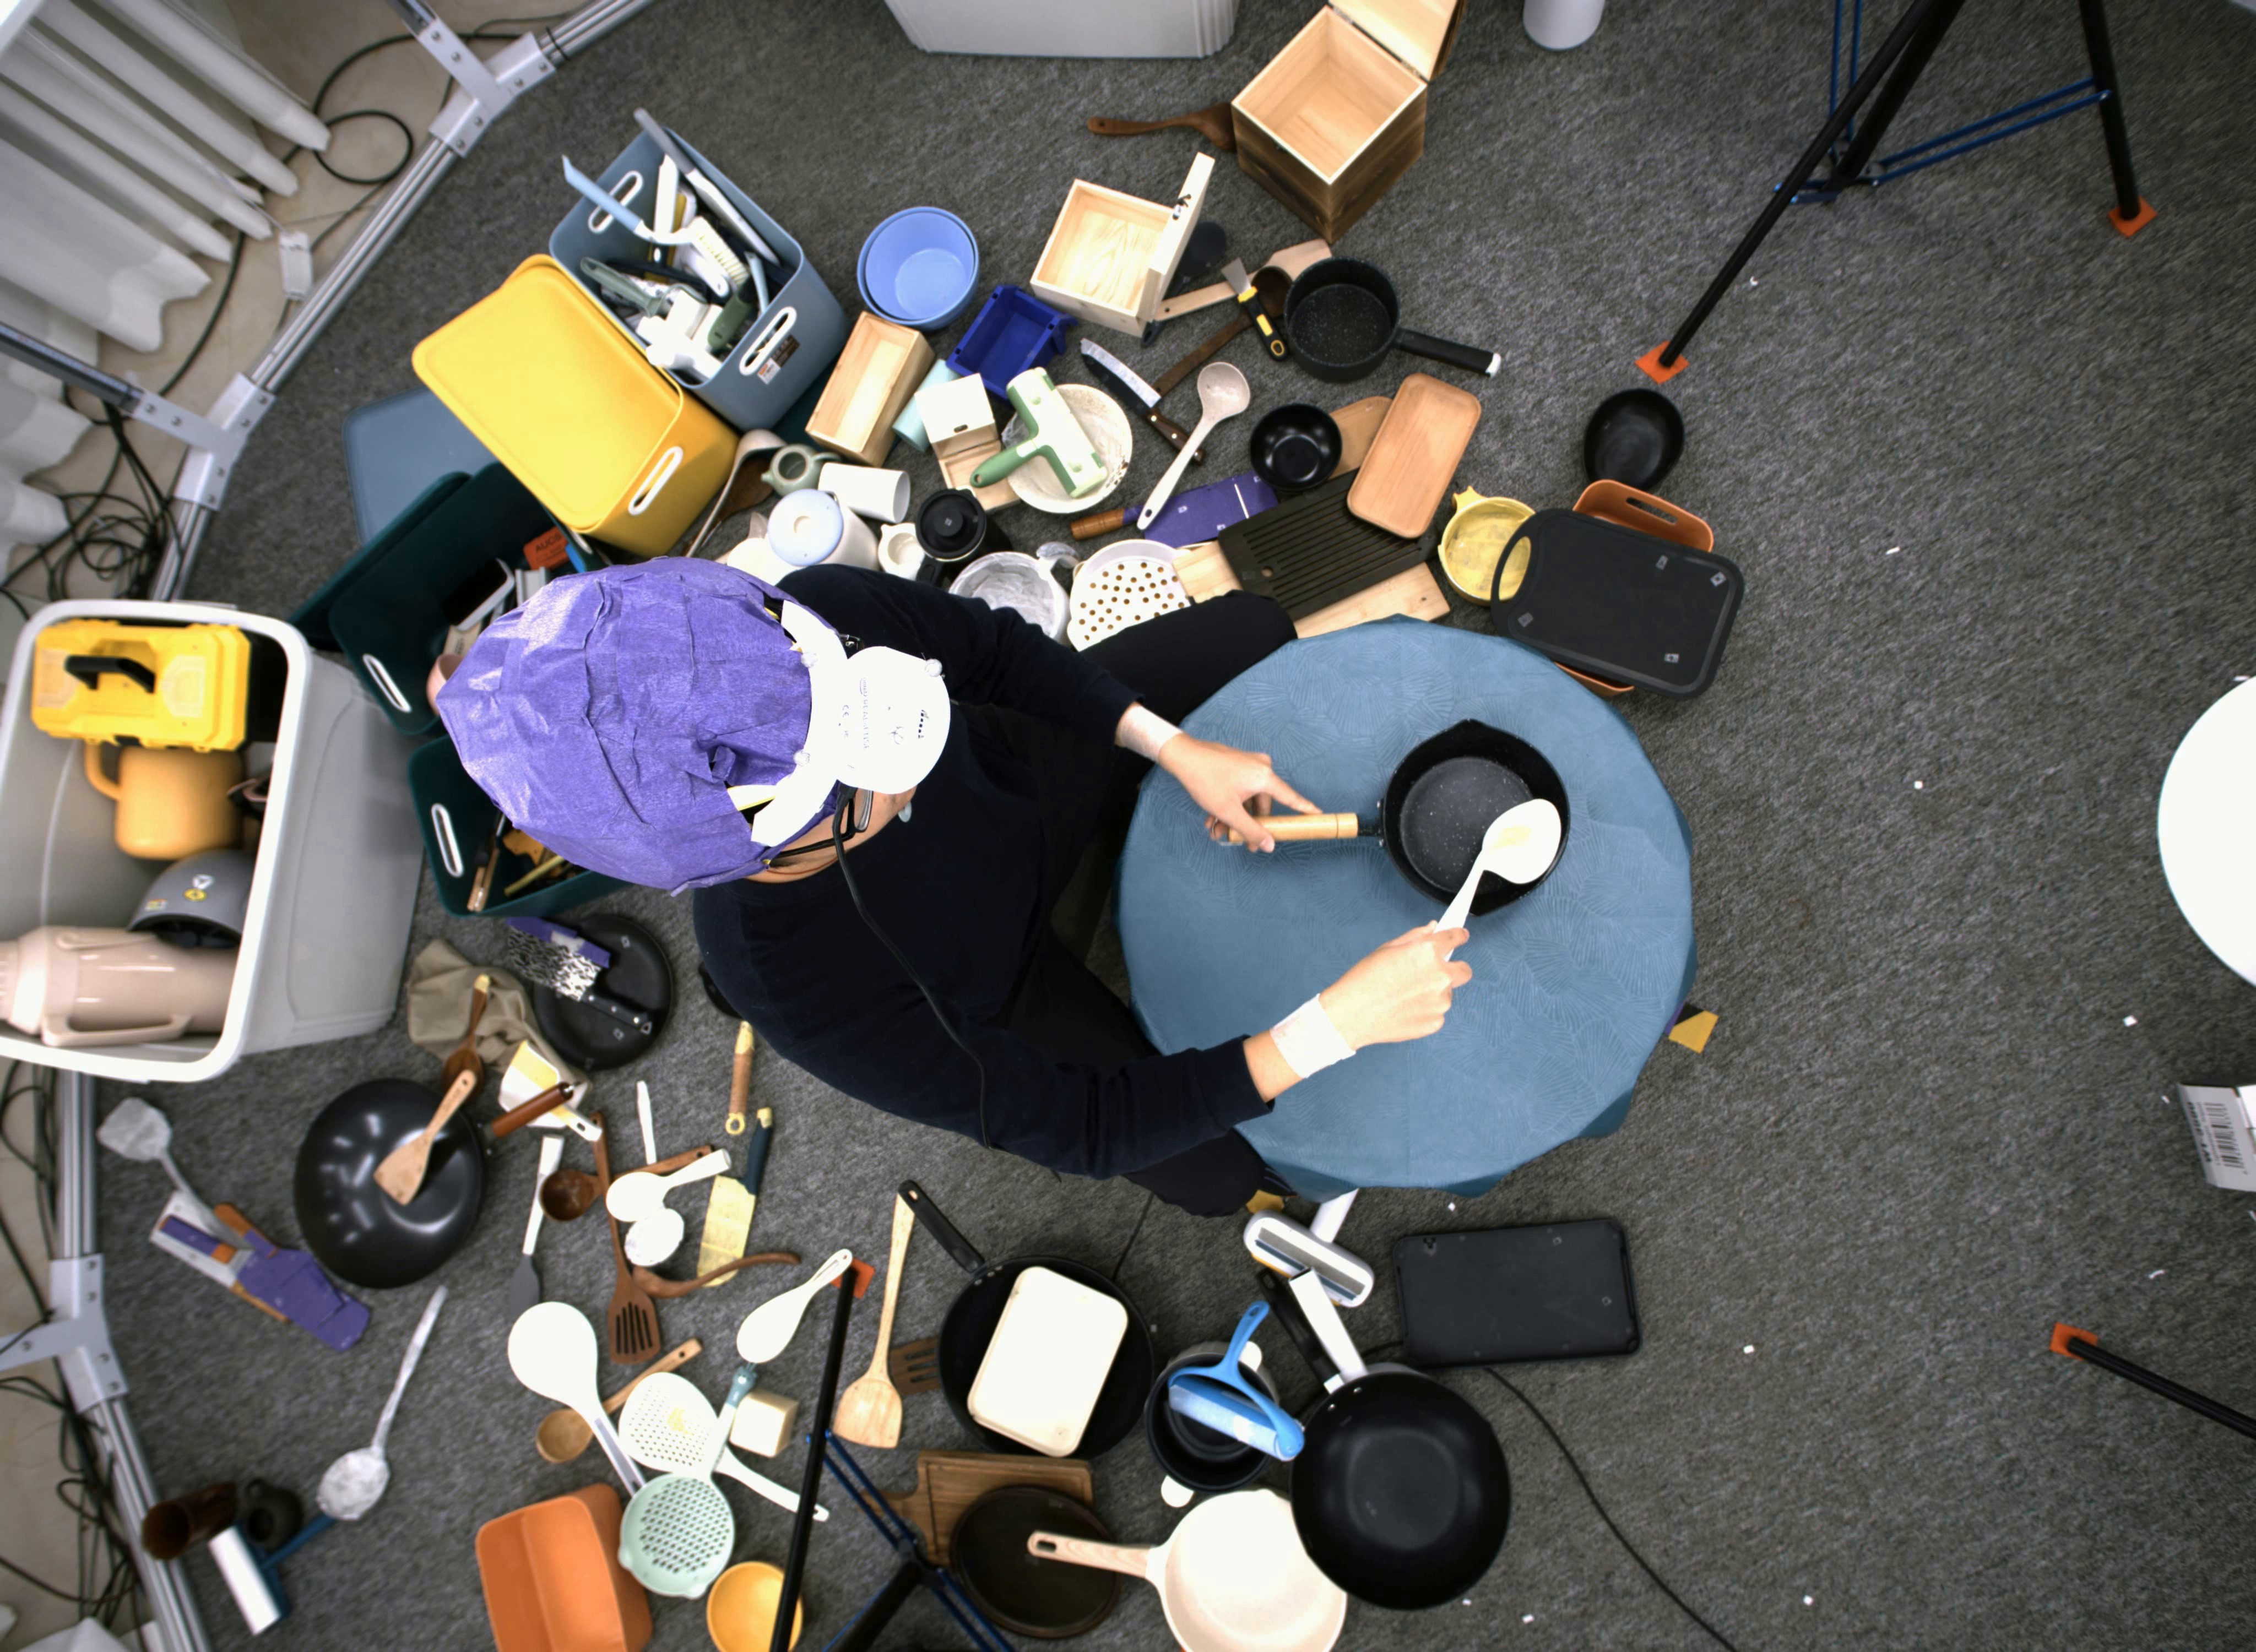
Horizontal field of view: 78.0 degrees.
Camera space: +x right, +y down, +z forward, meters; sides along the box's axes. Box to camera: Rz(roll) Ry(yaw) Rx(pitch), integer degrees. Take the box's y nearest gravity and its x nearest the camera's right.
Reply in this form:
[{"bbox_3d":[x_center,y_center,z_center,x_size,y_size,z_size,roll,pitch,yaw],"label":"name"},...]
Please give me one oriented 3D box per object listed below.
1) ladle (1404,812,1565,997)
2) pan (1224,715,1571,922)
[{"bbox_3d":[0.337,0.072,1.284,0.070,0.286,0.092,17,126,24],"label":"ladle"},{"bbox_3d":[0.272,-0.003,1.408,0.344,0.108,0.207,-4,87,9],"label":"pan"}]
